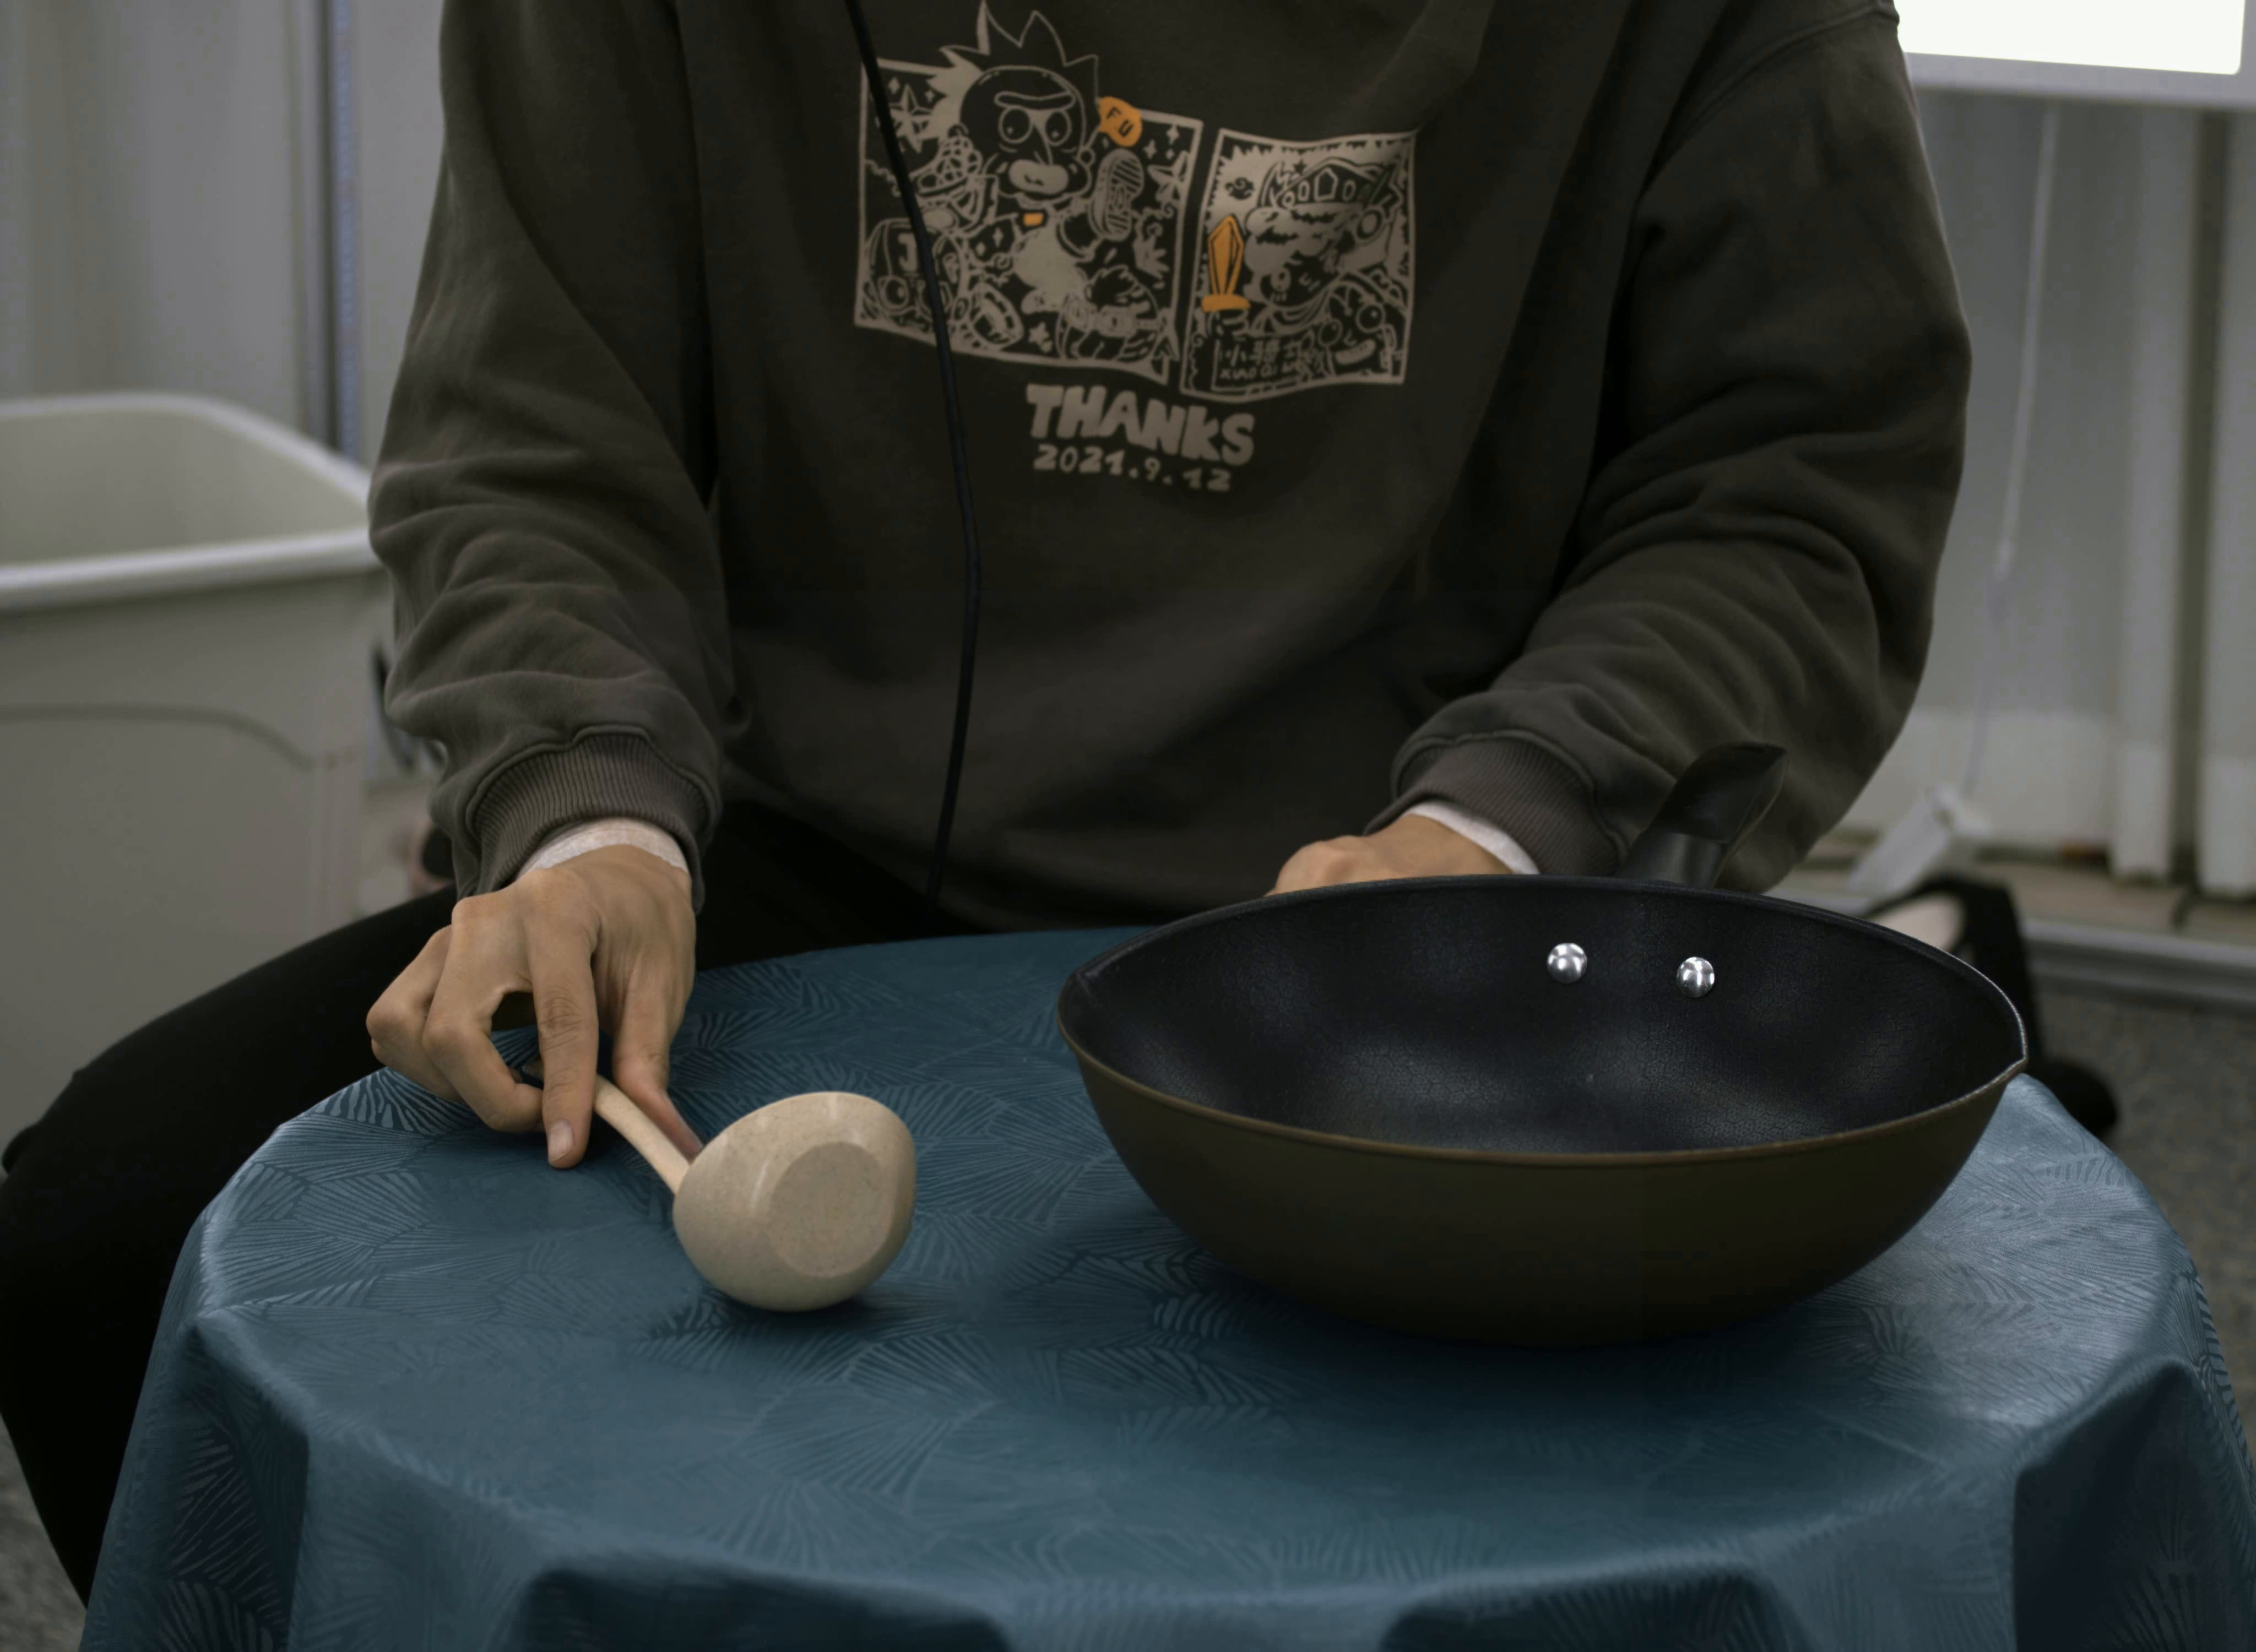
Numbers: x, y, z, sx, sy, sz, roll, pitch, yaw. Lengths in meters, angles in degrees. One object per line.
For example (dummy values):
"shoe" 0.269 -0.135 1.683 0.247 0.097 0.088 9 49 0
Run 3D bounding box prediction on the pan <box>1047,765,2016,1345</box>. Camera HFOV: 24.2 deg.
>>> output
"pan" 0.145 0.068 1.642 0.285 0.087 0.463 5 15 17

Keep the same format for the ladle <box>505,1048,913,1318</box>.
"ladle" -0.139 0.078 1.600 0.072 0.073 0.251 -1 18 -27
